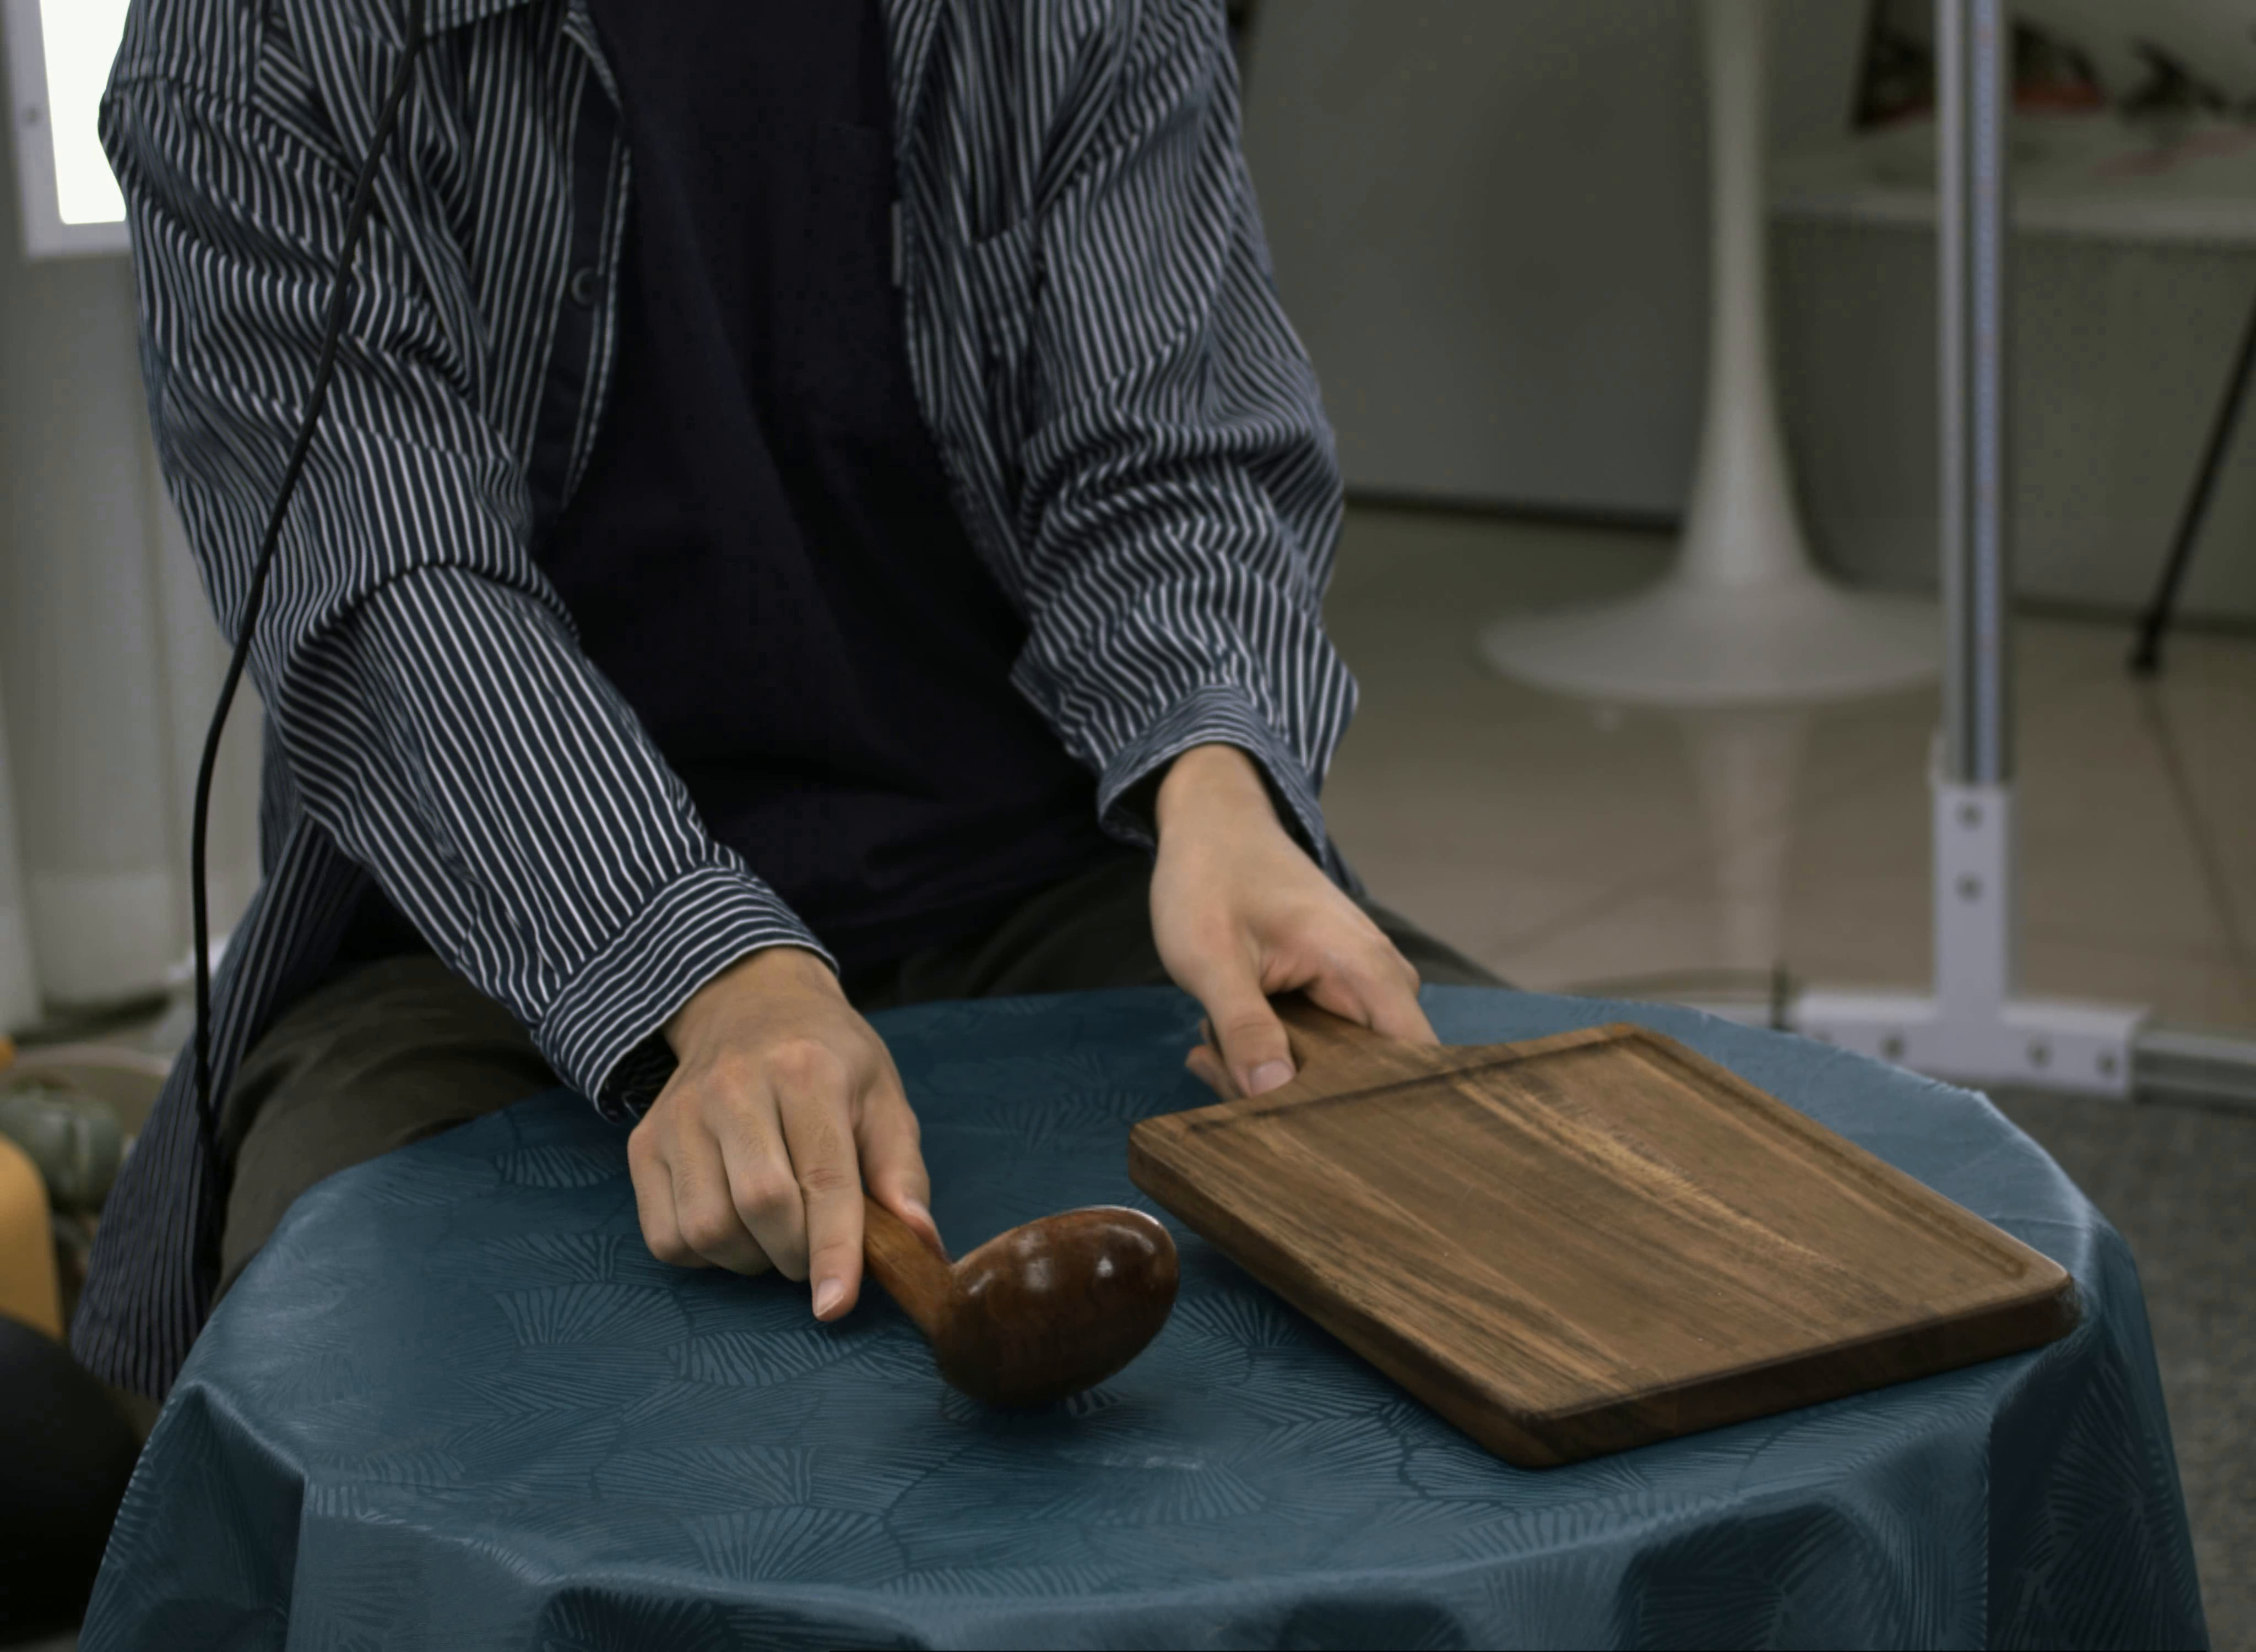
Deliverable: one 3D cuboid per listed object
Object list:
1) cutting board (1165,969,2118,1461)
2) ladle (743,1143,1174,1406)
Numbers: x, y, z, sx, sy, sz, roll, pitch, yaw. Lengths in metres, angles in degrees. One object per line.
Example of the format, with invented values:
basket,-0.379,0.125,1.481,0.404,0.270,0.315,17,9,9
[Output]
cutting board,0.130,0.106,1.682,0.197,0.023,0.356,-10,20,-24
ladle,-0.067,0.112,1.646,0.080,0.077,0.277,-3,15,-23
